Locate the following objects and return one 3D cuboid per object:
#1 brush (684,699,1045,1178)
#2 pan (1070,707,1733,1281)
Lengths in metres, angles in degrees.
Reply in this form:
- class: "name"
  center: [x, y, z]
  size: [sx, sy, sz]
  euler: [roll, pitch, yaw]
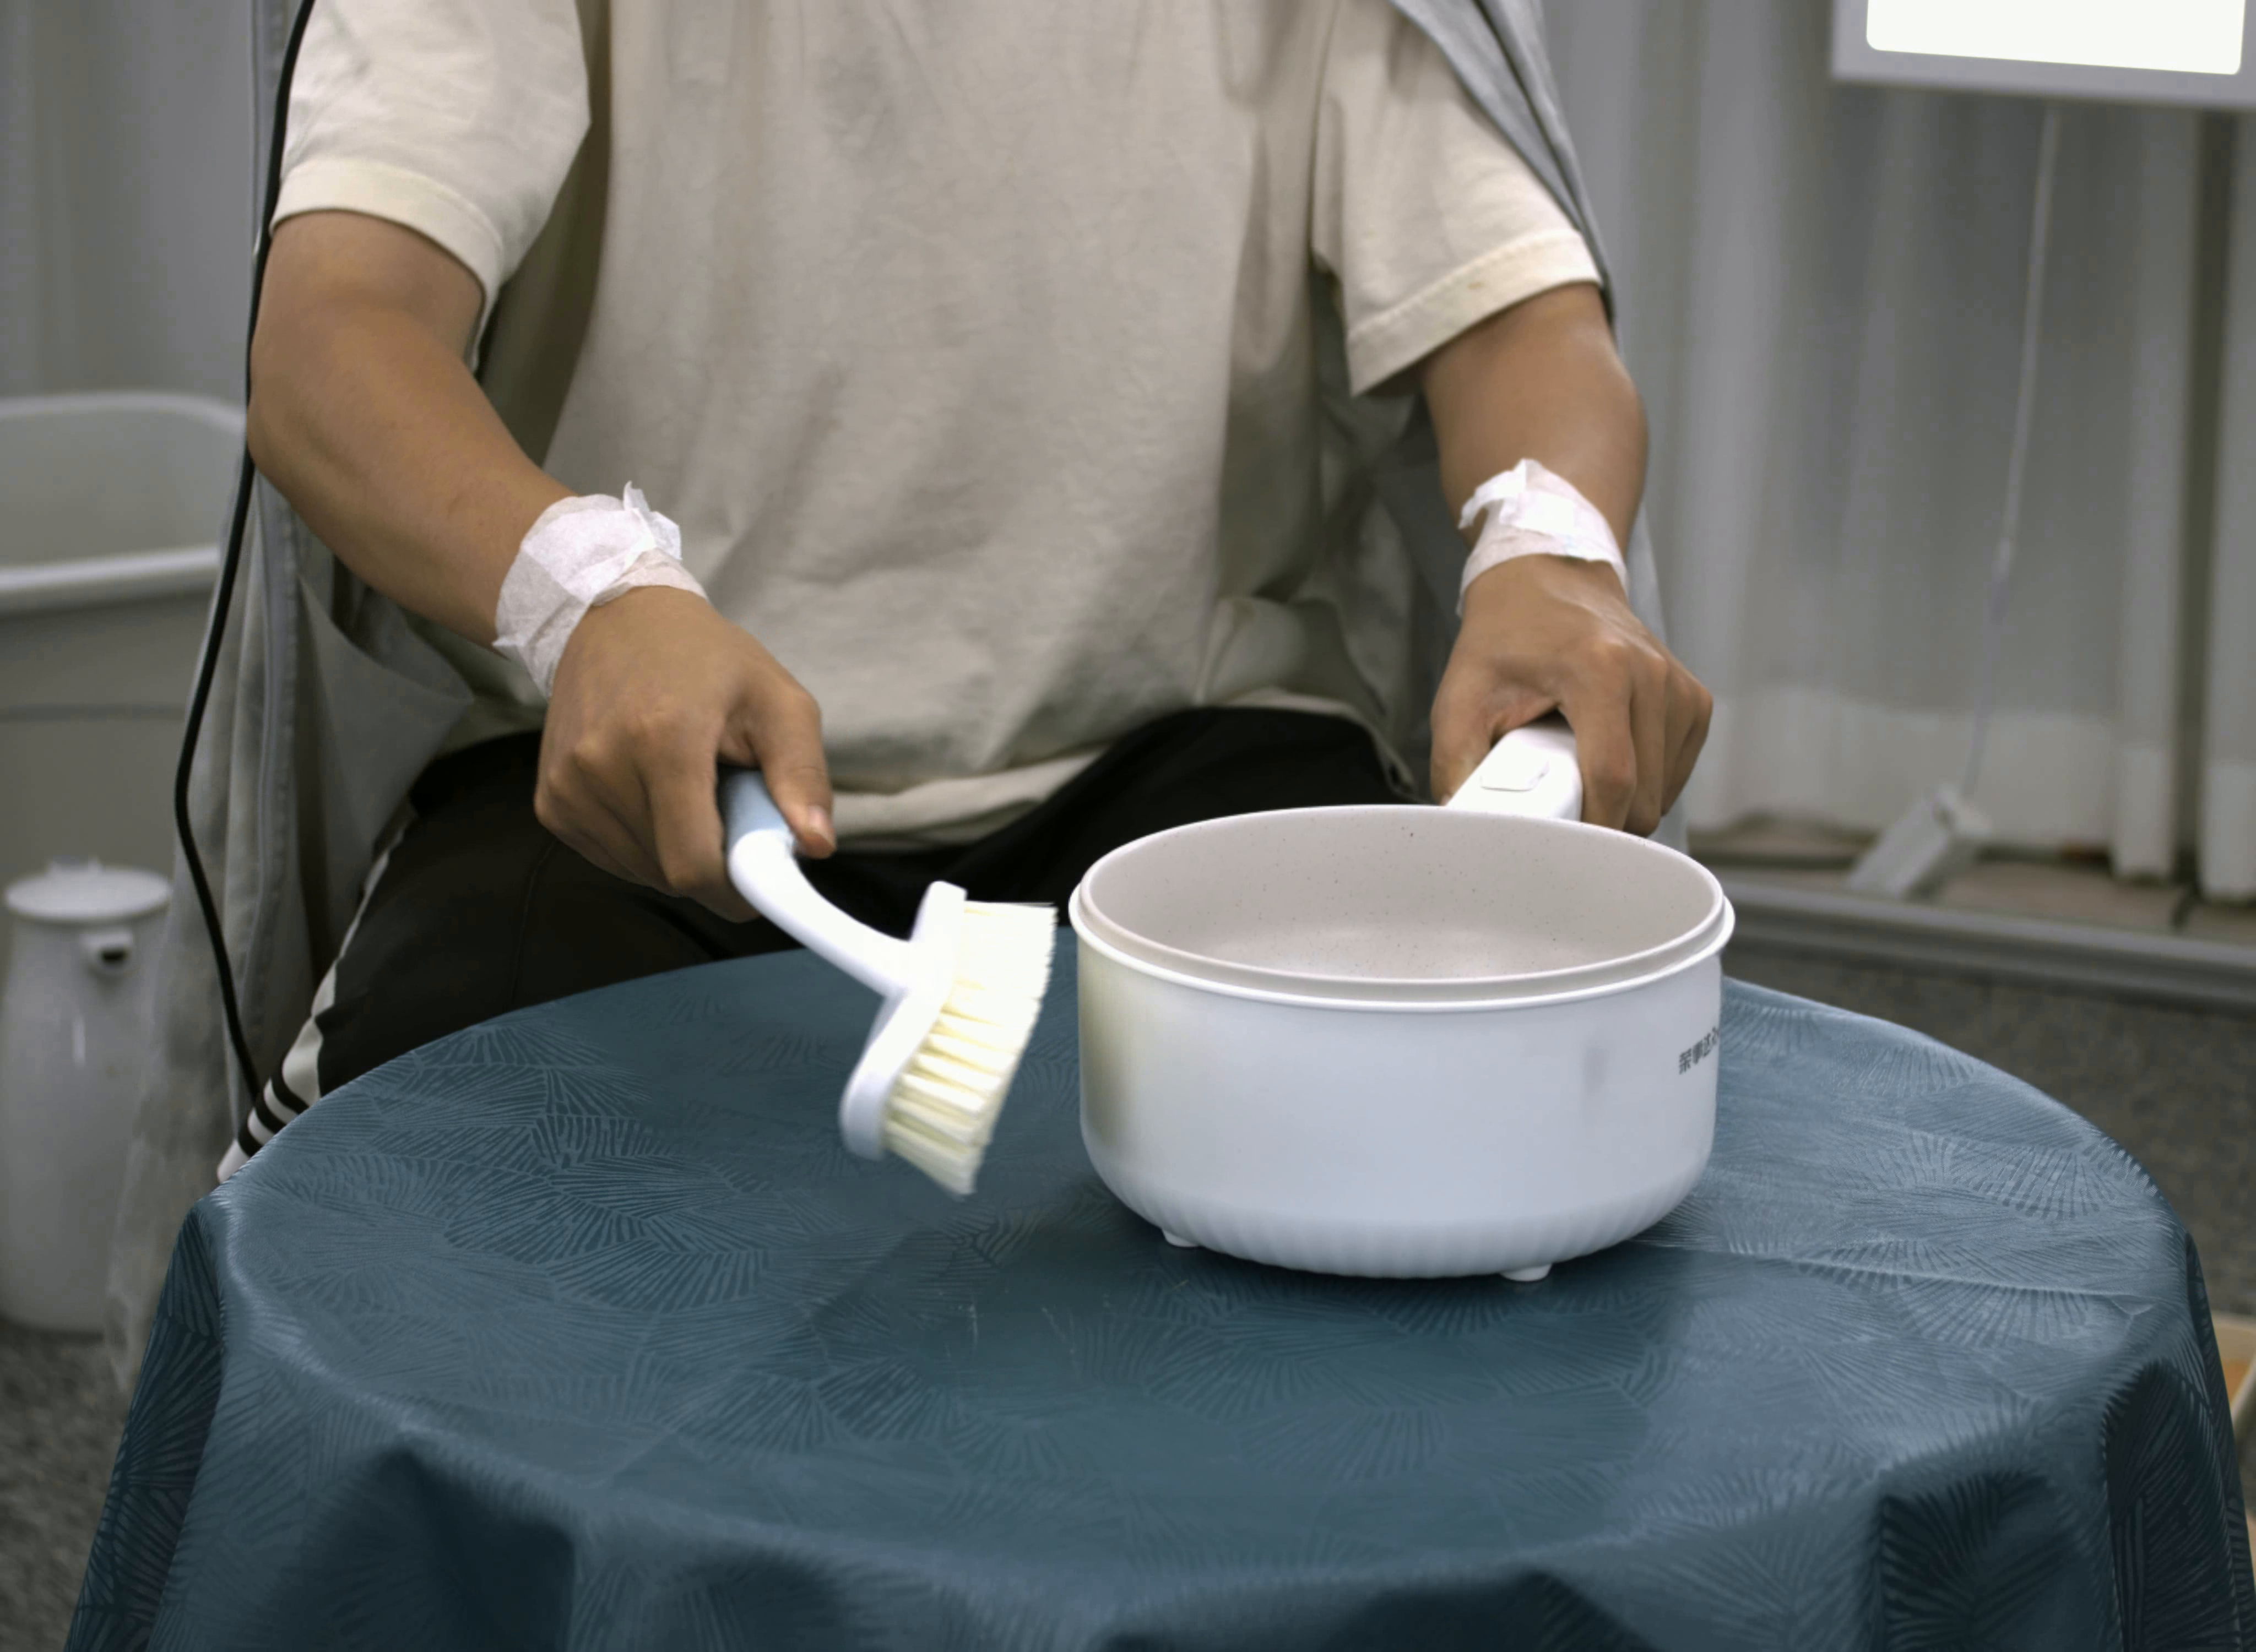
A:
- class: "brush"
  center: [-0.070, 0.025, 1.626]
  size: [0.083, 0.085, 0.322]
  euler: [-34, 23, 2]
- class: "pan"
  center: [0.103, 0.048, 1.675]
  size: [0.199, 0.103, 0.355]
  euler: [5, 16, 15]
